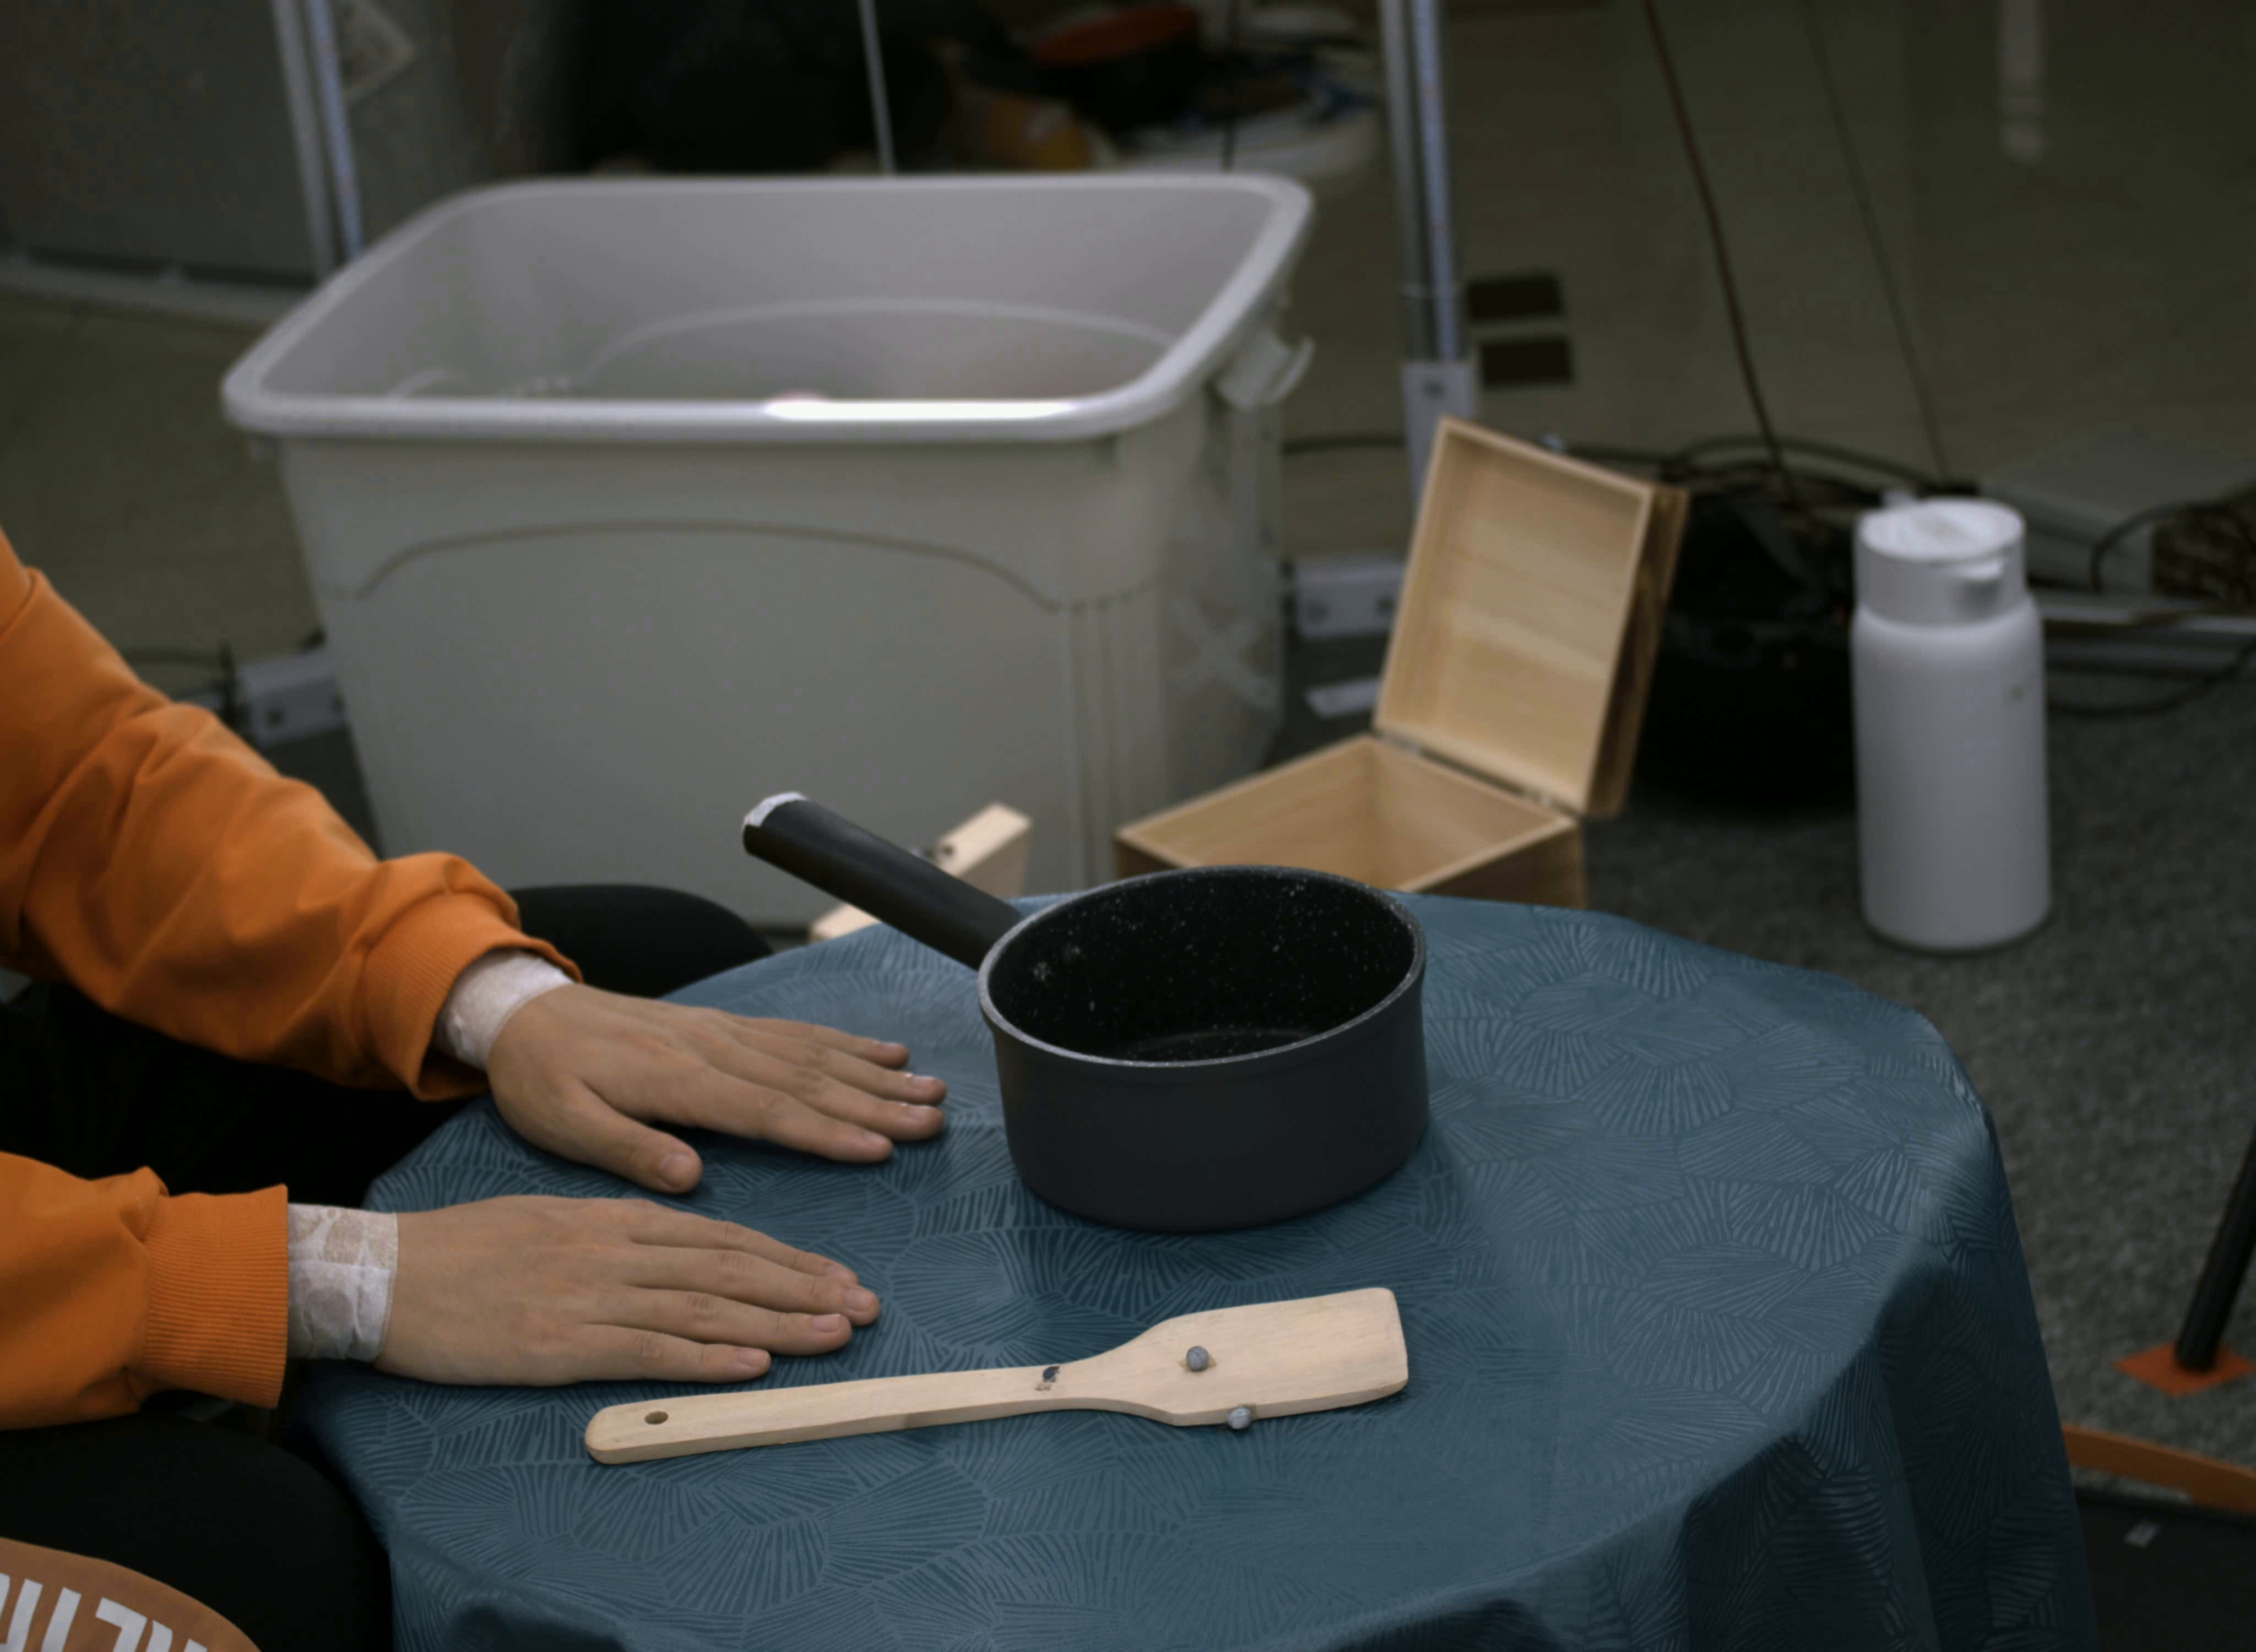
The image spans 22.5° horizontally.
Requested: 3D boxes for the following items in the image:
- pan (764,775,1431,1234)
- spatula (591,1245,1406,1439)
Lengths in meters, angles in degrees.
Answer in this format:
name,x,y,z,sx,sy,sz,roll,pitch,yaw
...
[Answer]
name,x,y,z,sx,sy,sz,roll,pitch,yaw
pan,-0.024,0.063,2.215,0.170,0.088,0.326,-26,33,-37
spatula,-0.047,0.188,2.020,0.292,0.011,0.071,-10,16,-2
